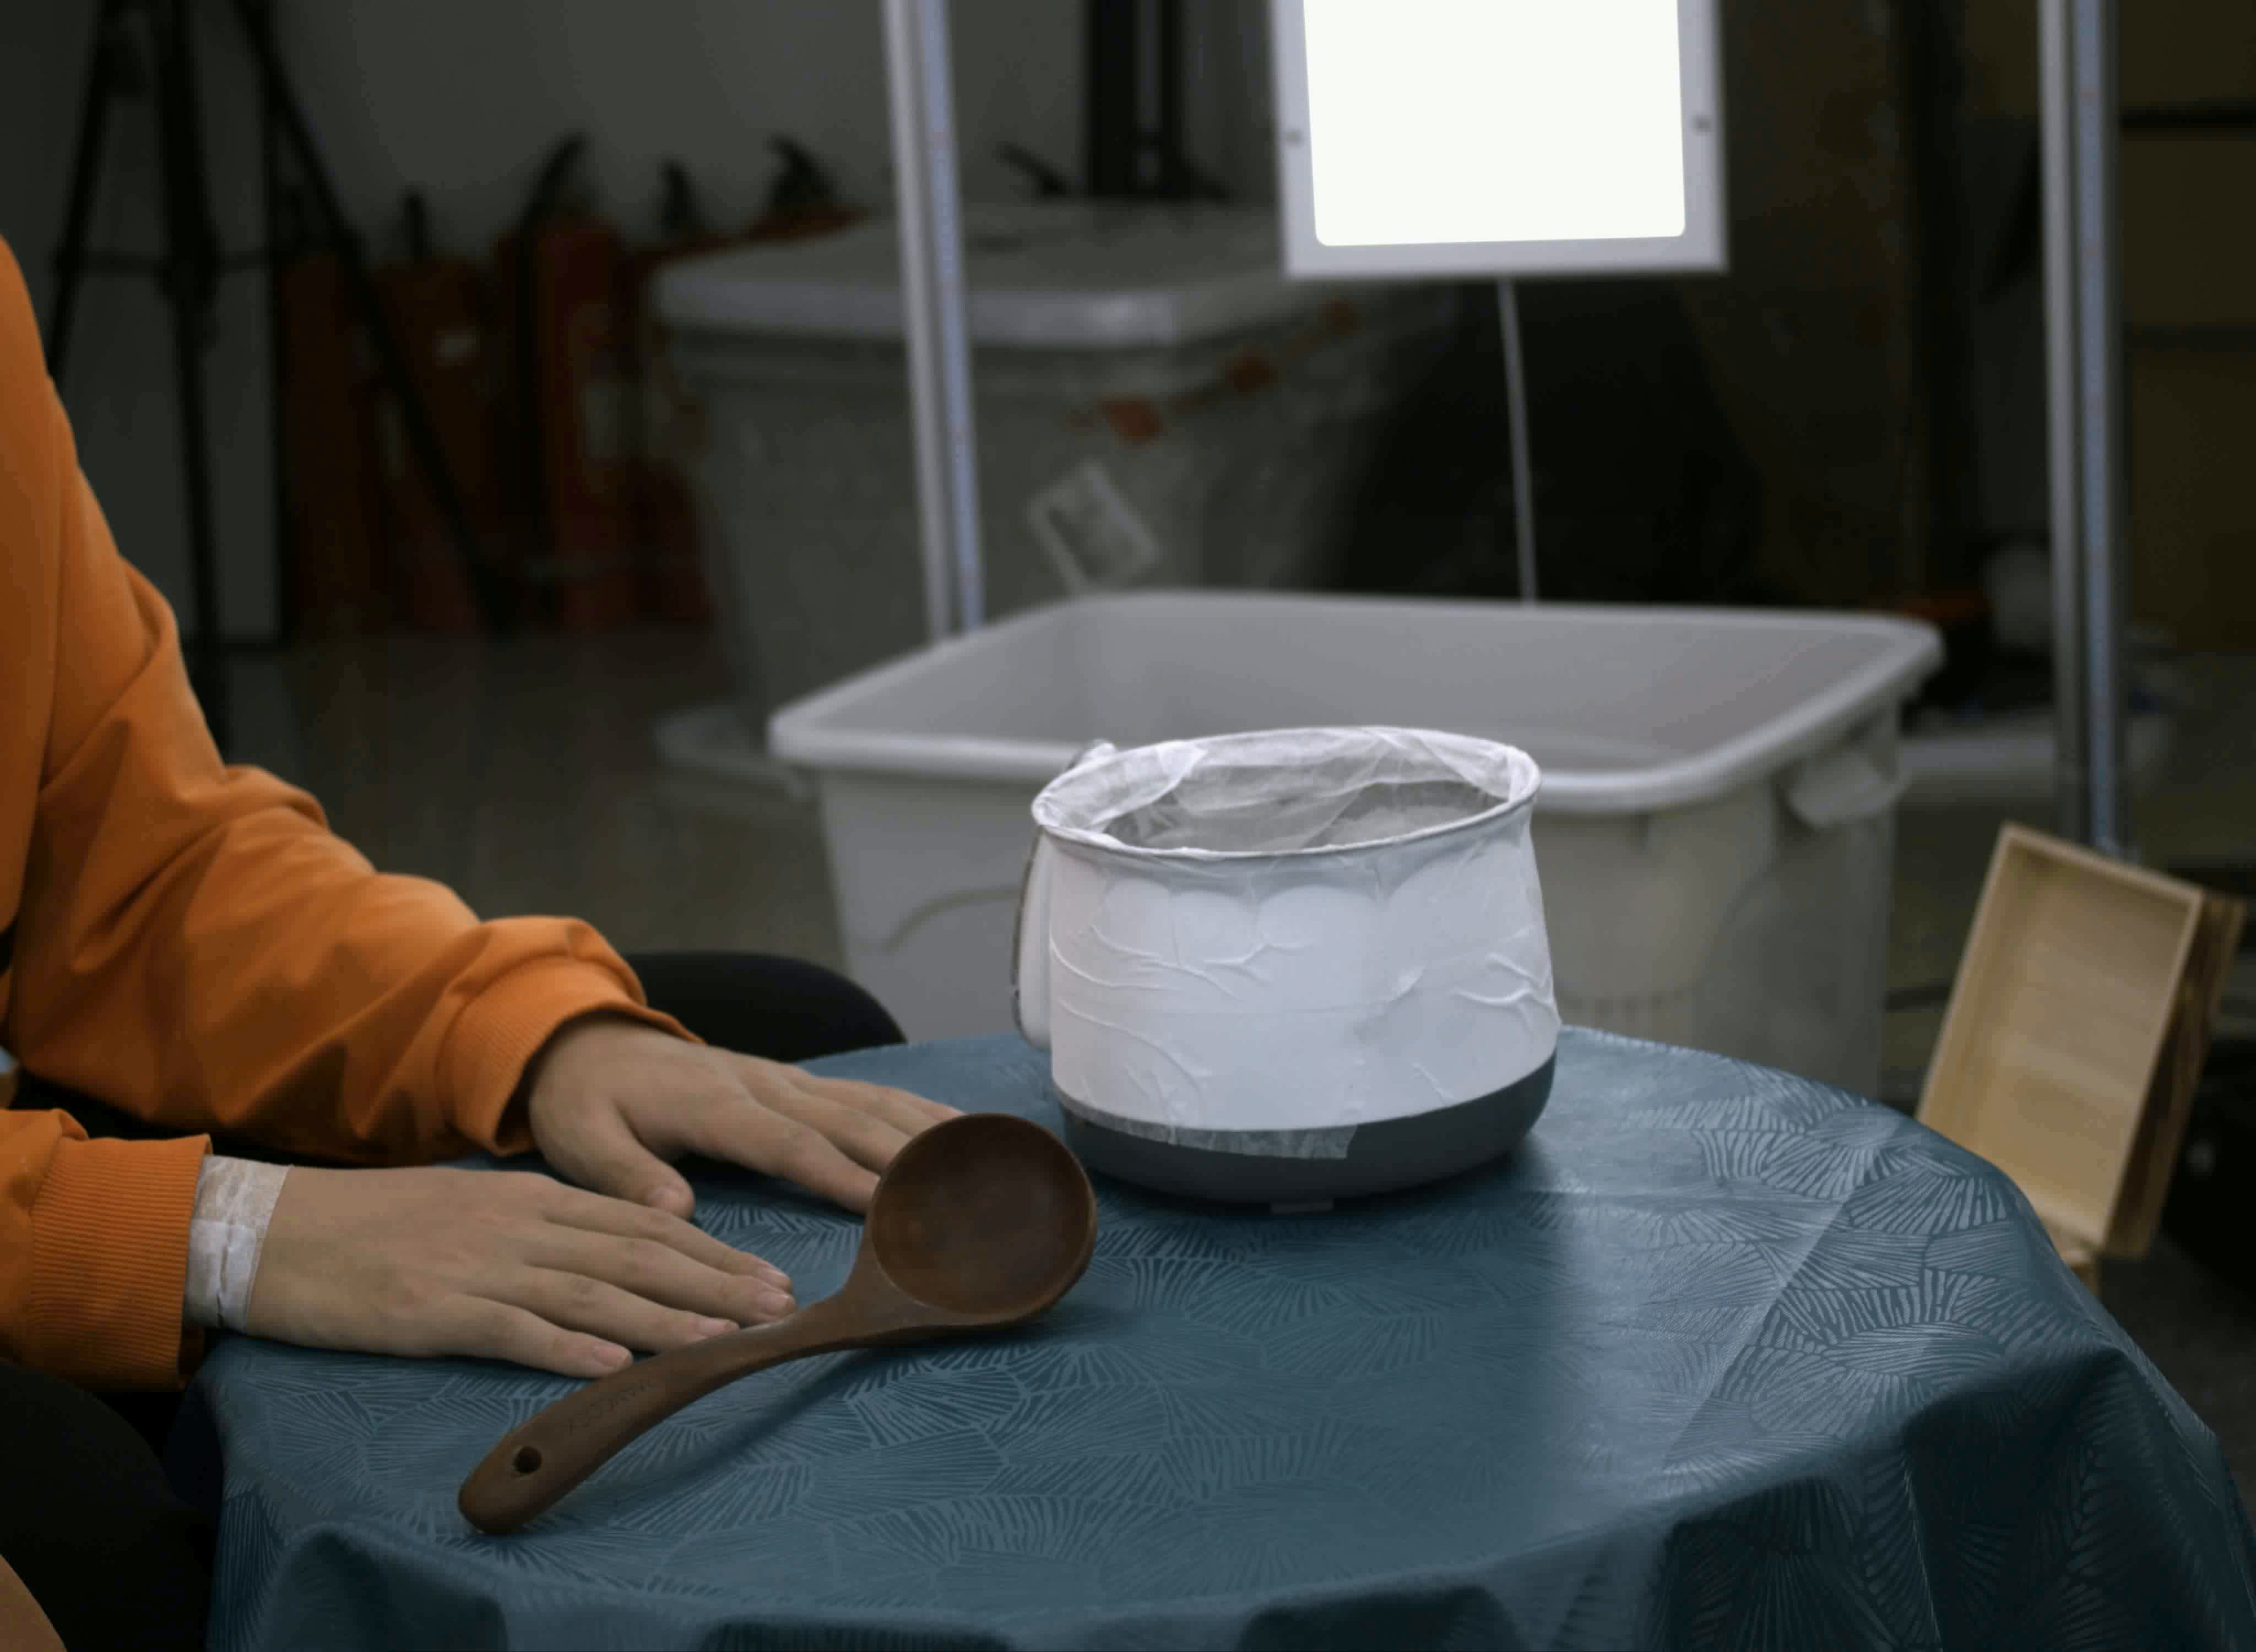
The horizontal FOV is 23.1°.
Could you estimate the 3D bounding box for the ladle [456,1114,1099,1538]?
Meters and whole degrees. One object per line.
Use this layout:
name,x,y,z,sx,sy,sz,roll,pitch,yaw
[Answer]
ladle,-0.107,0.152,1.705,0.077,0.066,0.253,35,34,28

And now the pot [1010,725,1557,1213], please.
pot,0.041,0.044,1.928,0.174,0.137,0.239,-16,18,-39
